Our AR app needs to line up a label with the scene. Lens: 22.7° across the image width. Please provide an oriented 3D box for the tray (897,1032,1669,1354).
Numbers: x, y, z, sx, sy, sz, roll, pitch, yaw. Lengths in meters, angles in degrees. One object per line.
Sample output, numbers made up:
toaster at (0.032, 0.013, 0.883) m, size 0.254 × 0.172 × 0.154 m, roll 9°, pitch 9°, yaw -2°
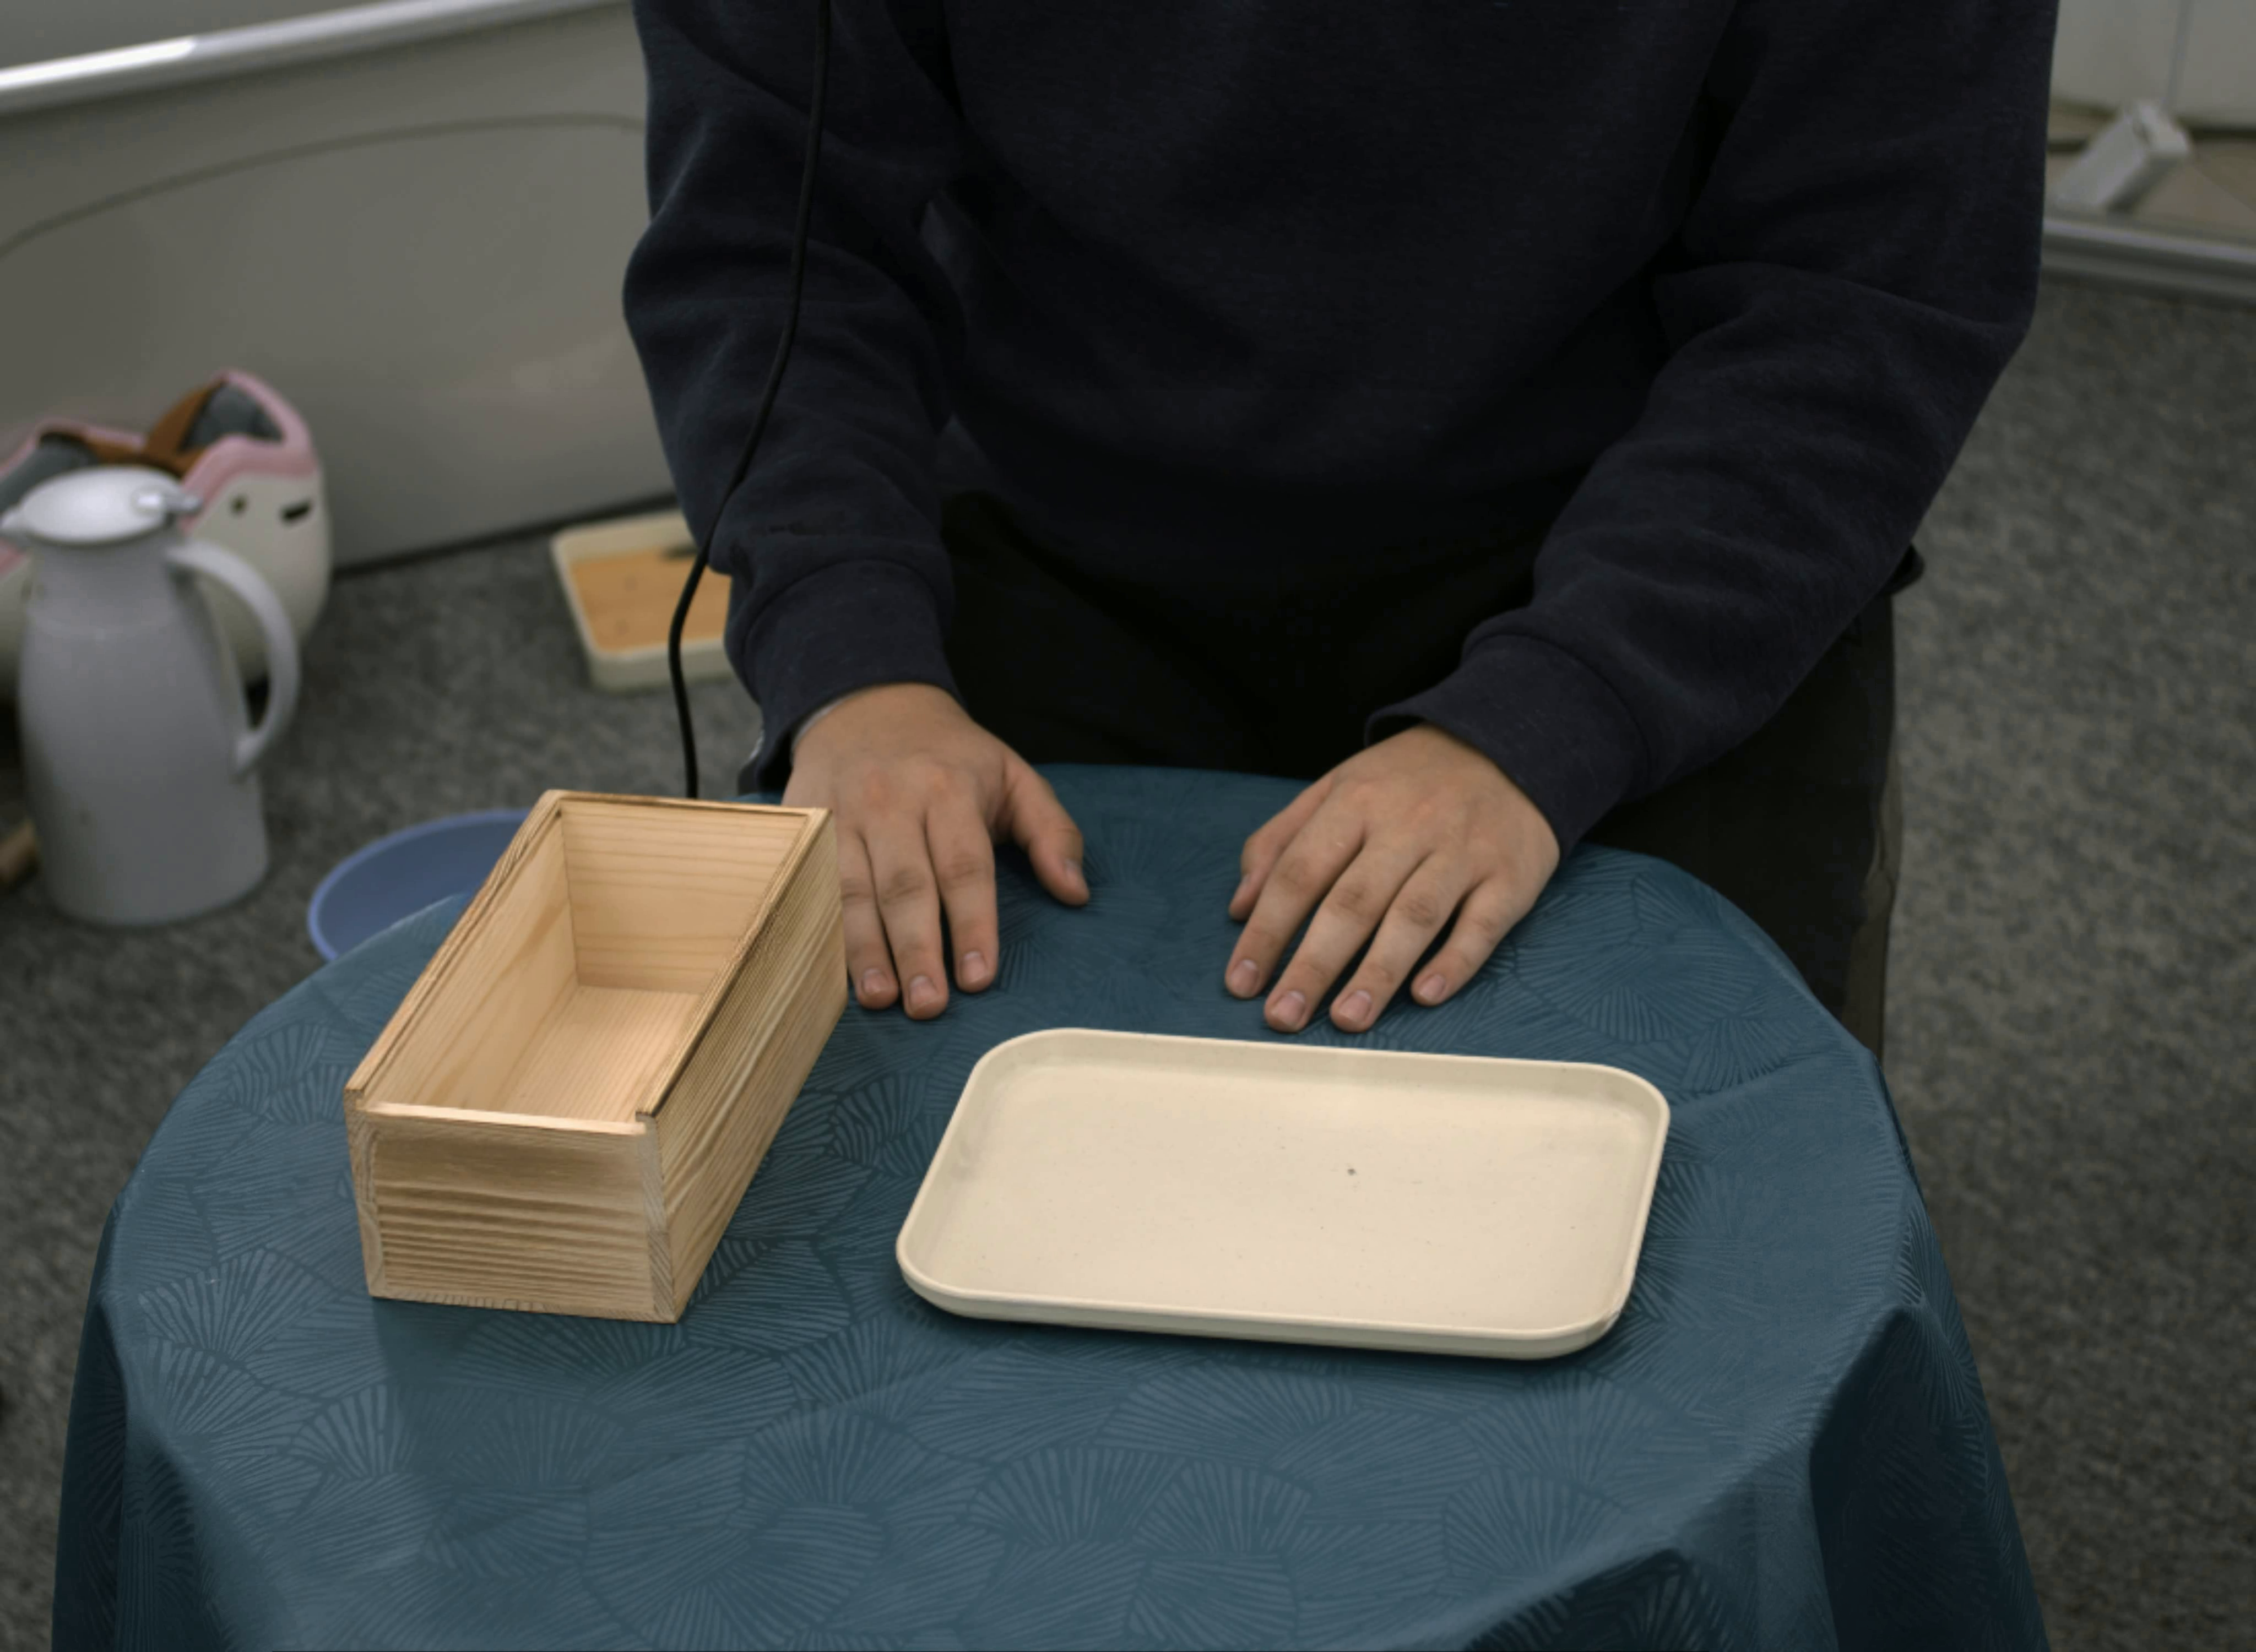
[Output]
tray at (0.053, 0.121, 1.843) m, size 0.238 × 0.017 × 0.174 m, roll 3°, pitch 27°, yaw 11°

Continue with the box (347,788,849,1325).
box at (-0.174, 0.074, 1.887) m, size 0.107 × 0.079 × 0.215 m, roll 4°, pitch 28°, yaw 12°
